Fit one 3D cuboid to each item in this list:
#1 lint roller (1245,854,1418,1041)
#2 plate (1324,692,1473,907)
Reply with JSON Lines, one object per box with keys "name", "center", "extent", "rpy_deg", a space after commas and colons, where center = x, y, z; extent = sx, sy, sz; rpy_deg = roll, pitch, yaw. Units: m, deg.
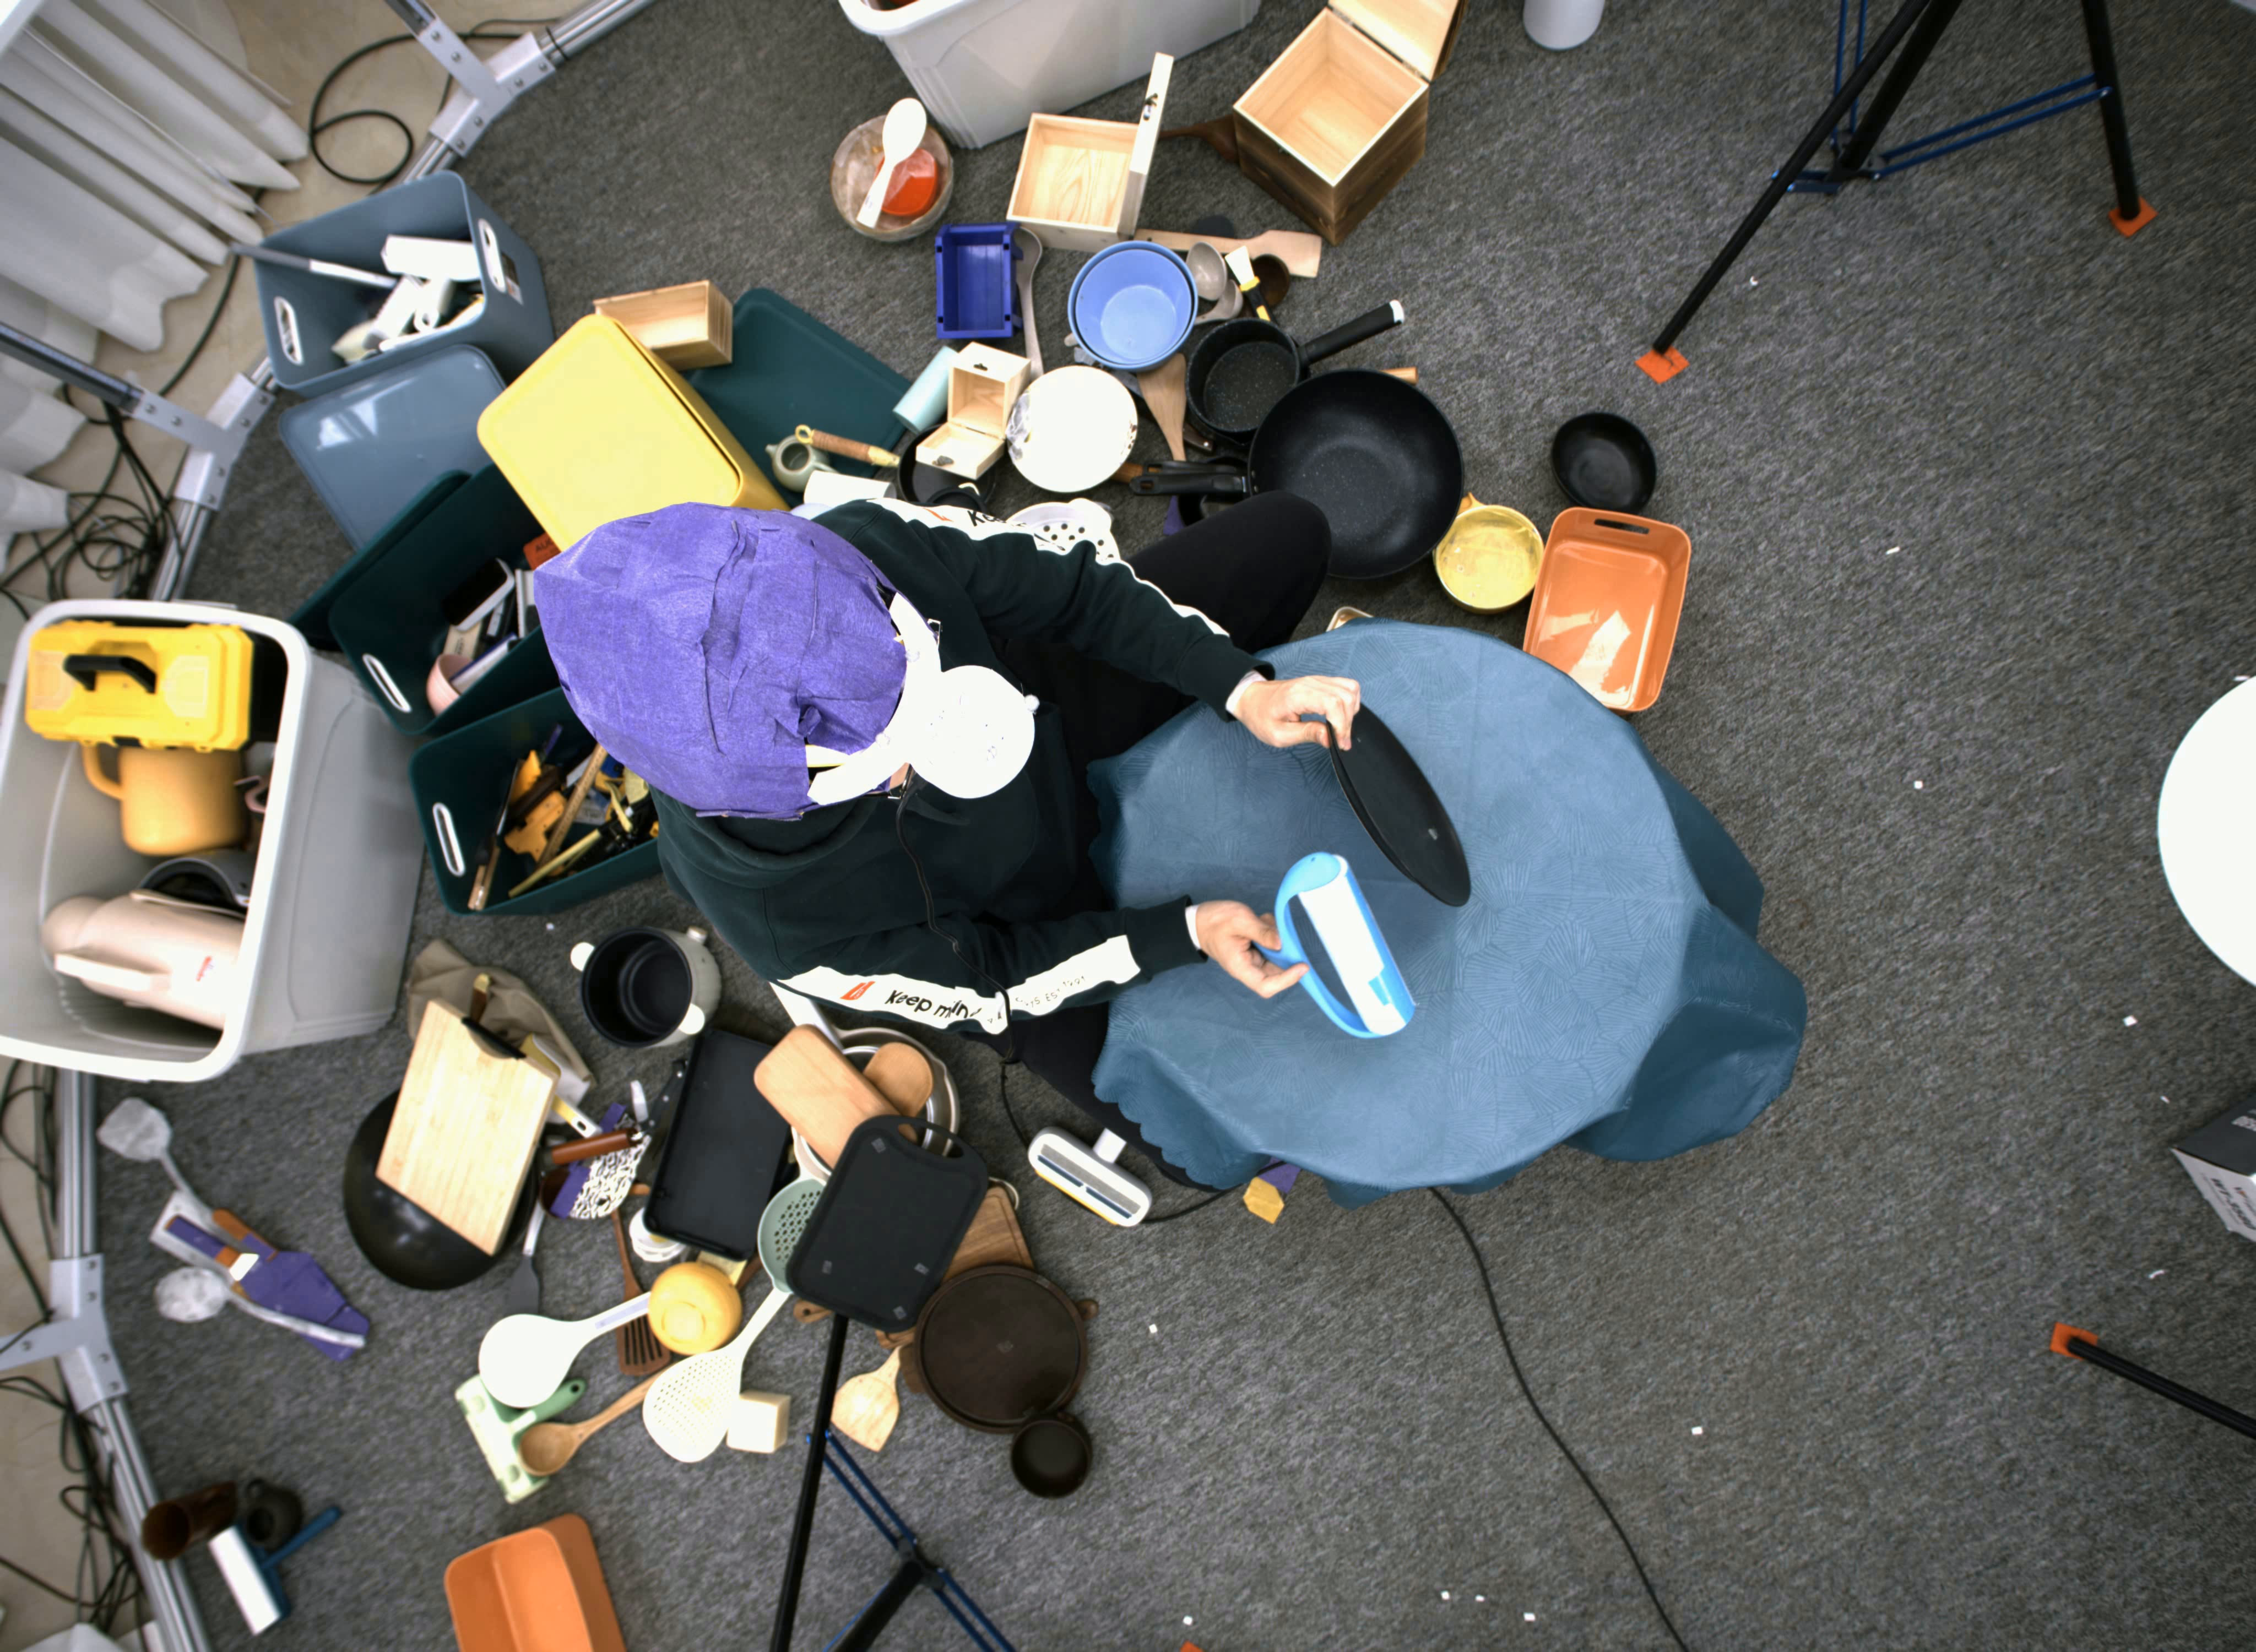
{"name": "lint roller", "center": [0.175, 0.116, 1.350], "extent": [0.181, 0.232, 0.066], "rpy_deg": [1, 44, 46]}
{"name": "plate", "center": [0.261, -0.025, 1.351], "extent": [0.024, 0.242, 0.243], "rpy_deg": [-33, 80, 27]}
